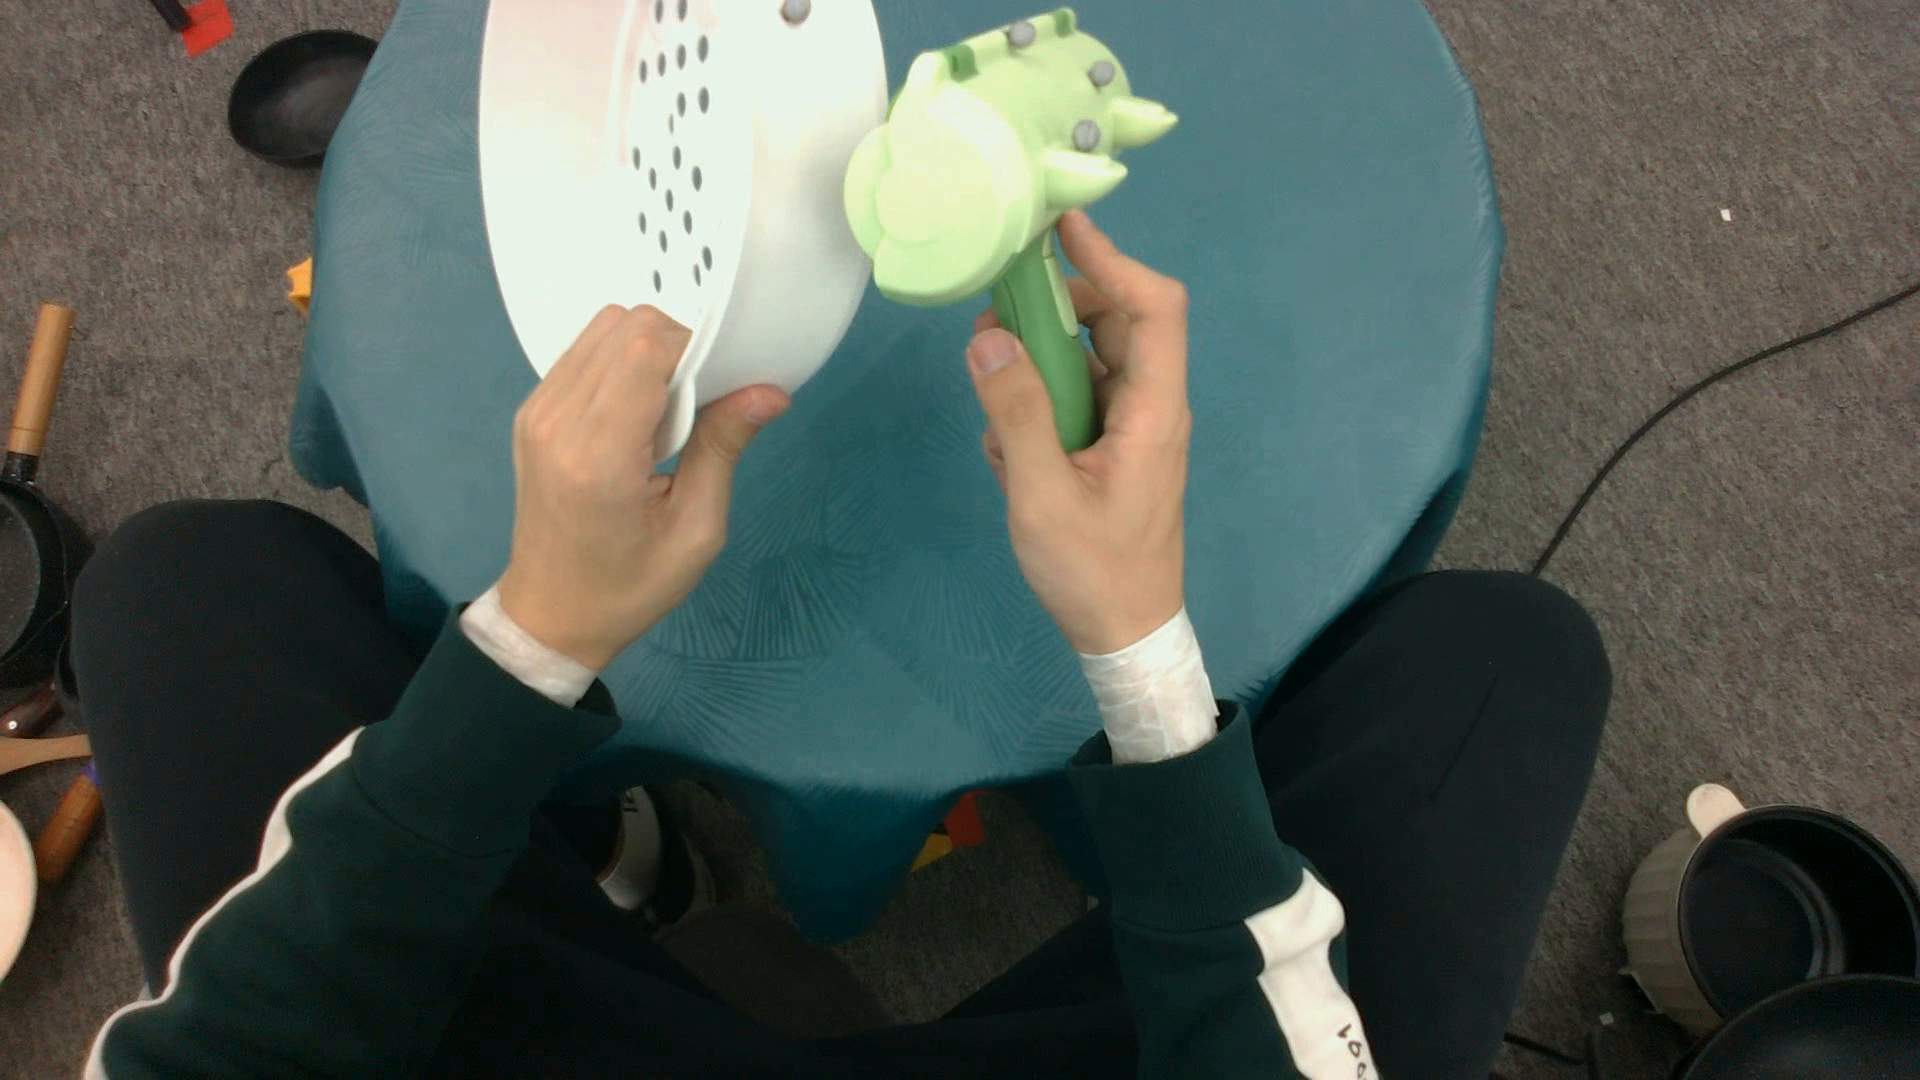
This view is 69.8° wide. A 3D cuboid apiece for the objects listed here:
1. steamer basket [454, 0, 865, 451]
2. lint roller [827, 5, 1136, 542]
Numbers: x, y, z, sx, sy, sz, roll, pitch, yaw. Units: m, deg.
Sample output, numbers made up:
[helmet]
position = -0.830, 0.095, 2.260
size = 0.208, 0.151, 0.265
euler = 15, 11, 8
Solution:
[steamer basket]
position = -0.115, -0.149, 0.502
size = 0.069, 0.201, 0.230
euler = -6, 85, -41
[lint roller]
position = 0.032, -0.089, 0.478
size = 0.082, 0.199, 0.183
euler = -16, 109, 19
